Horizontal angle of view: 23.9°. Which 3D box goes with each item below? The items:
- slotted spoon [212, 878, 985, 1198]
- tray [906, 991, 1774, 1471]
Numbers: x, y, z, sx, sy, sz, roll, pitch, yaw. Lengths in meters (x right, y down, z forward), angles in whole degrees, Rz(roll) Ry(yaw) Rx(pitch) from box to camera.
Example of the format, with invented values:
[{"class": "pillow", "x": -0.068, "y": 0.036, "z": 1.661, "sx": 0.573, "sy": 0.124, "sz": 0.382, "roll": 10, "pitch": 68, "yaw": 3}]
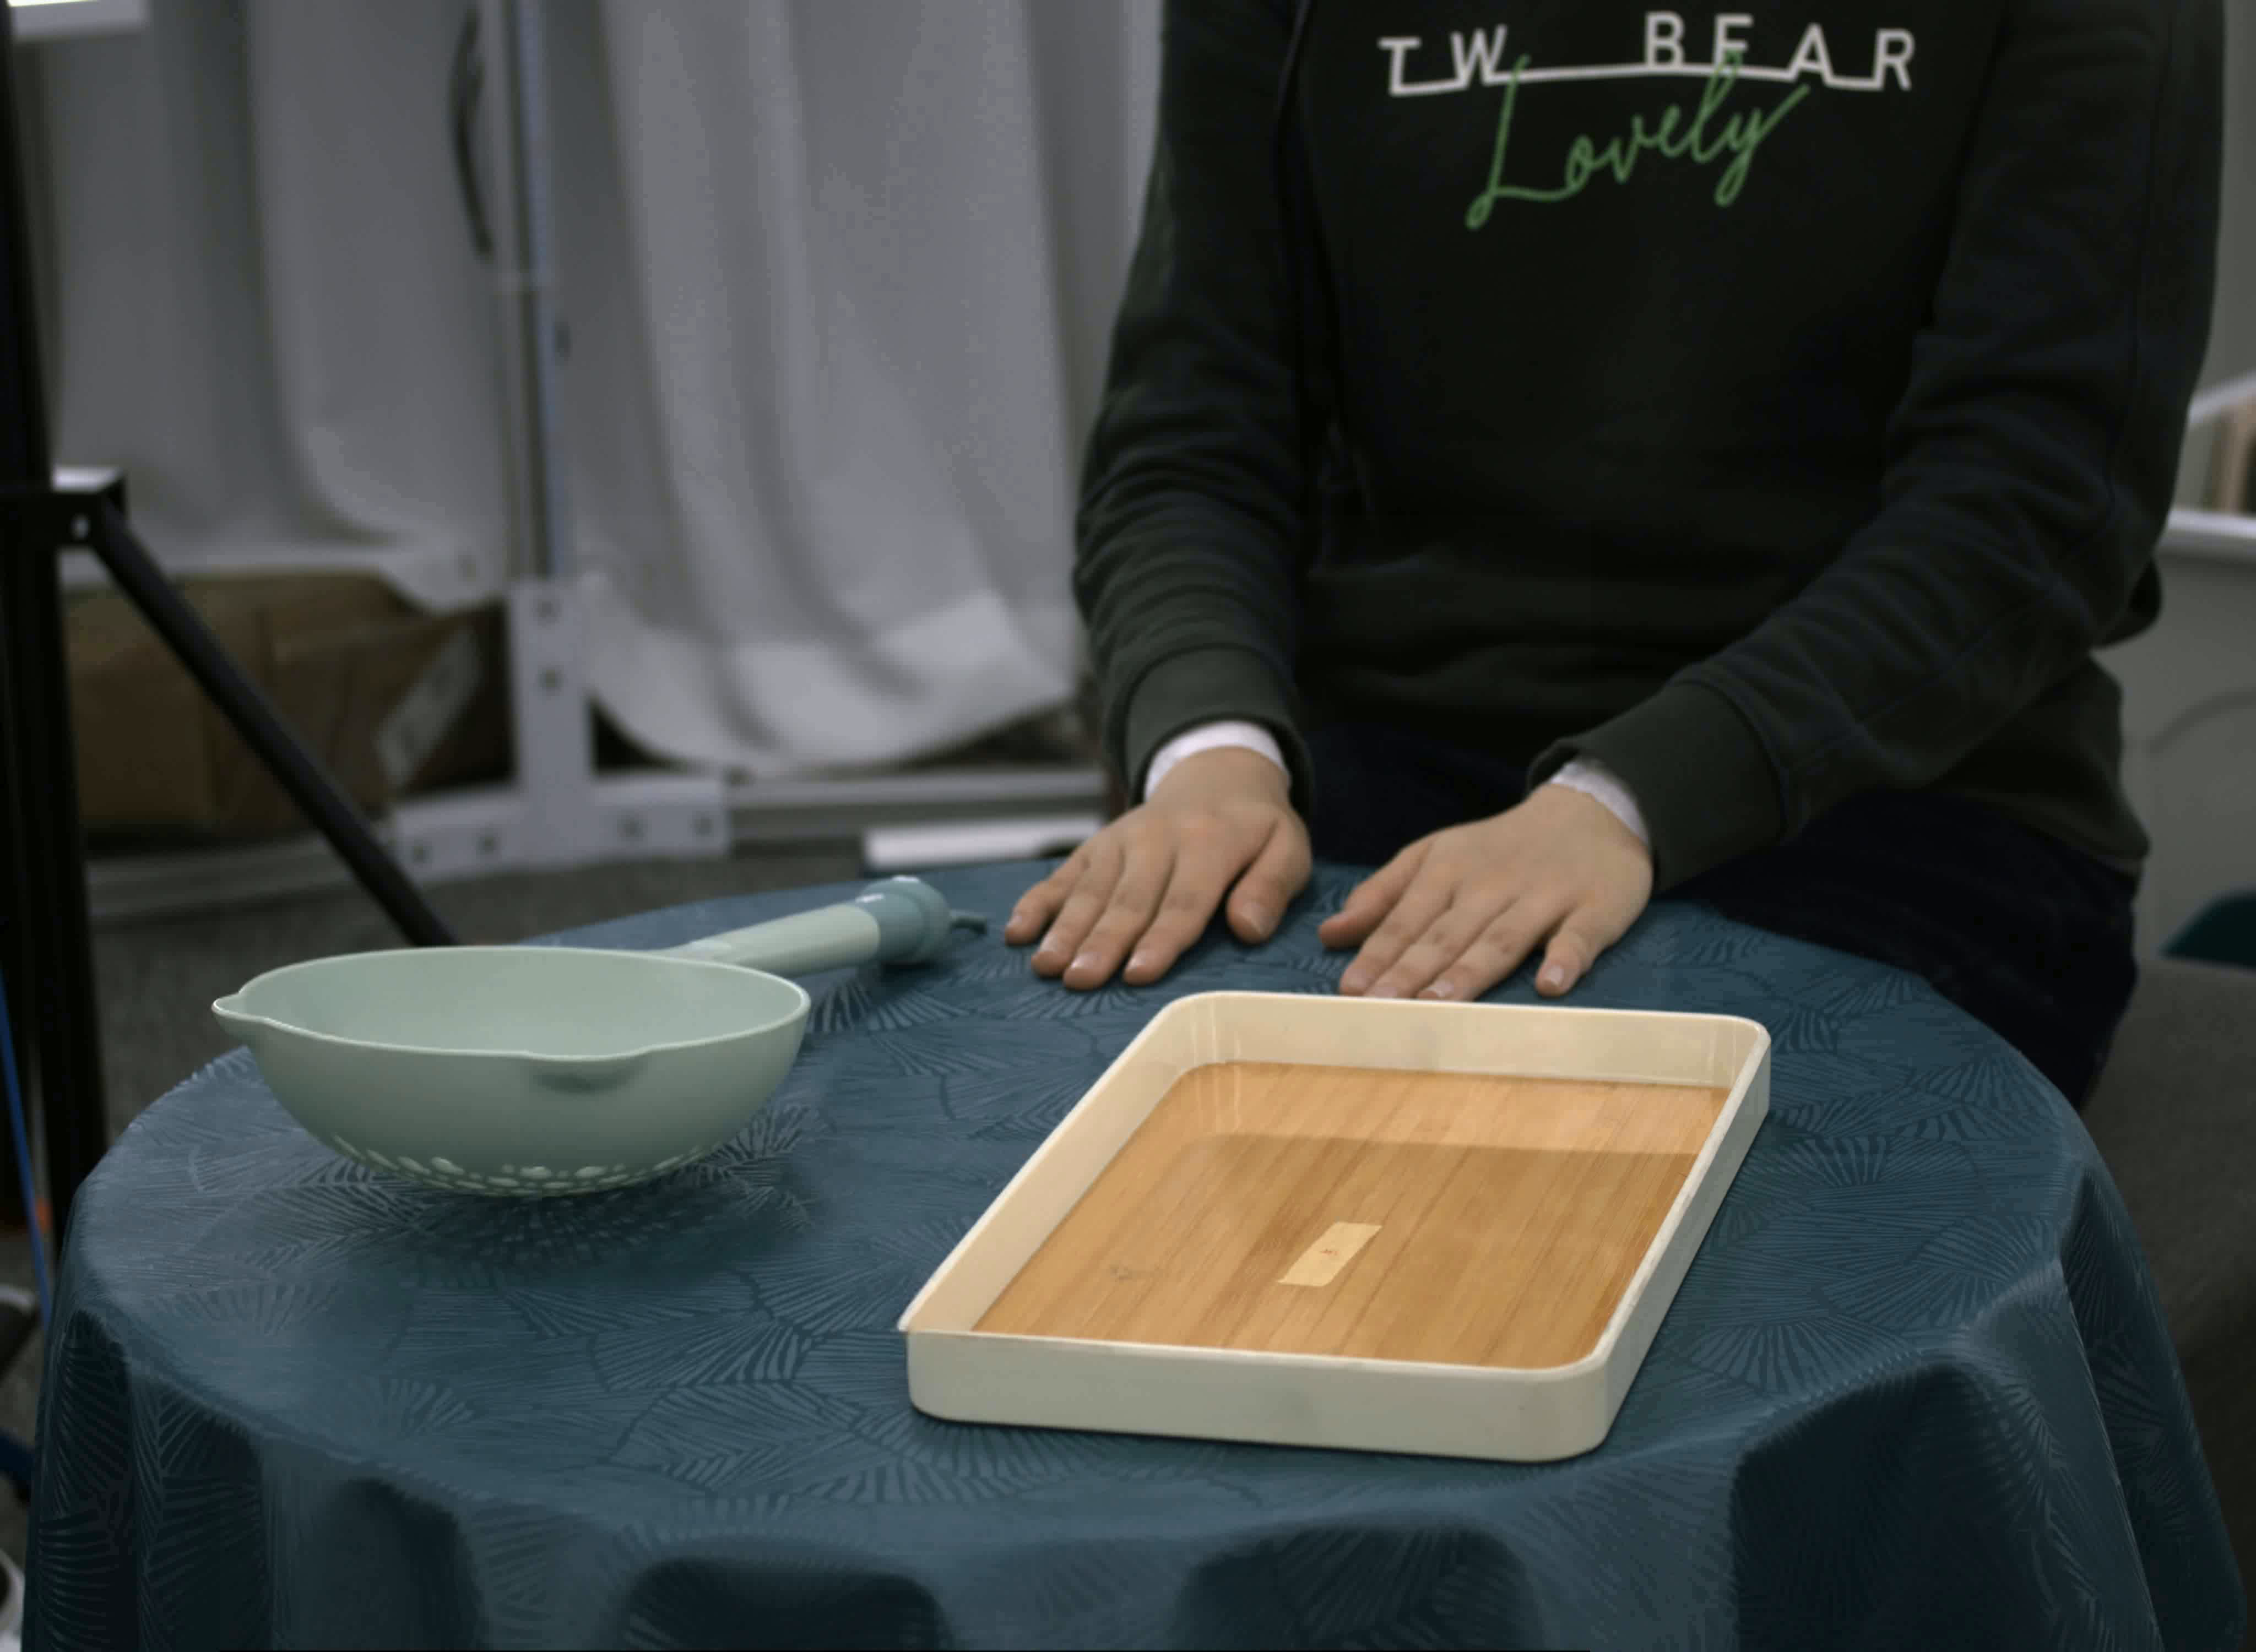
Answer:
[{"class": "slotted spoon", "x": -0.135, "y": 0.050, "z": 1.665, "sx": 0.172, "sy": 0.075, "sz": 0.353, "roll": 6, "pitch": 18, "yaw": 26}, {"class": "tray", "x": 0.068, "y": 0.108, "z": 1.497, "sx": 0.193, "sy": 0.027, "sz": 0.297, "roll": 2, "pitch": 17, "yaw": 17}]
